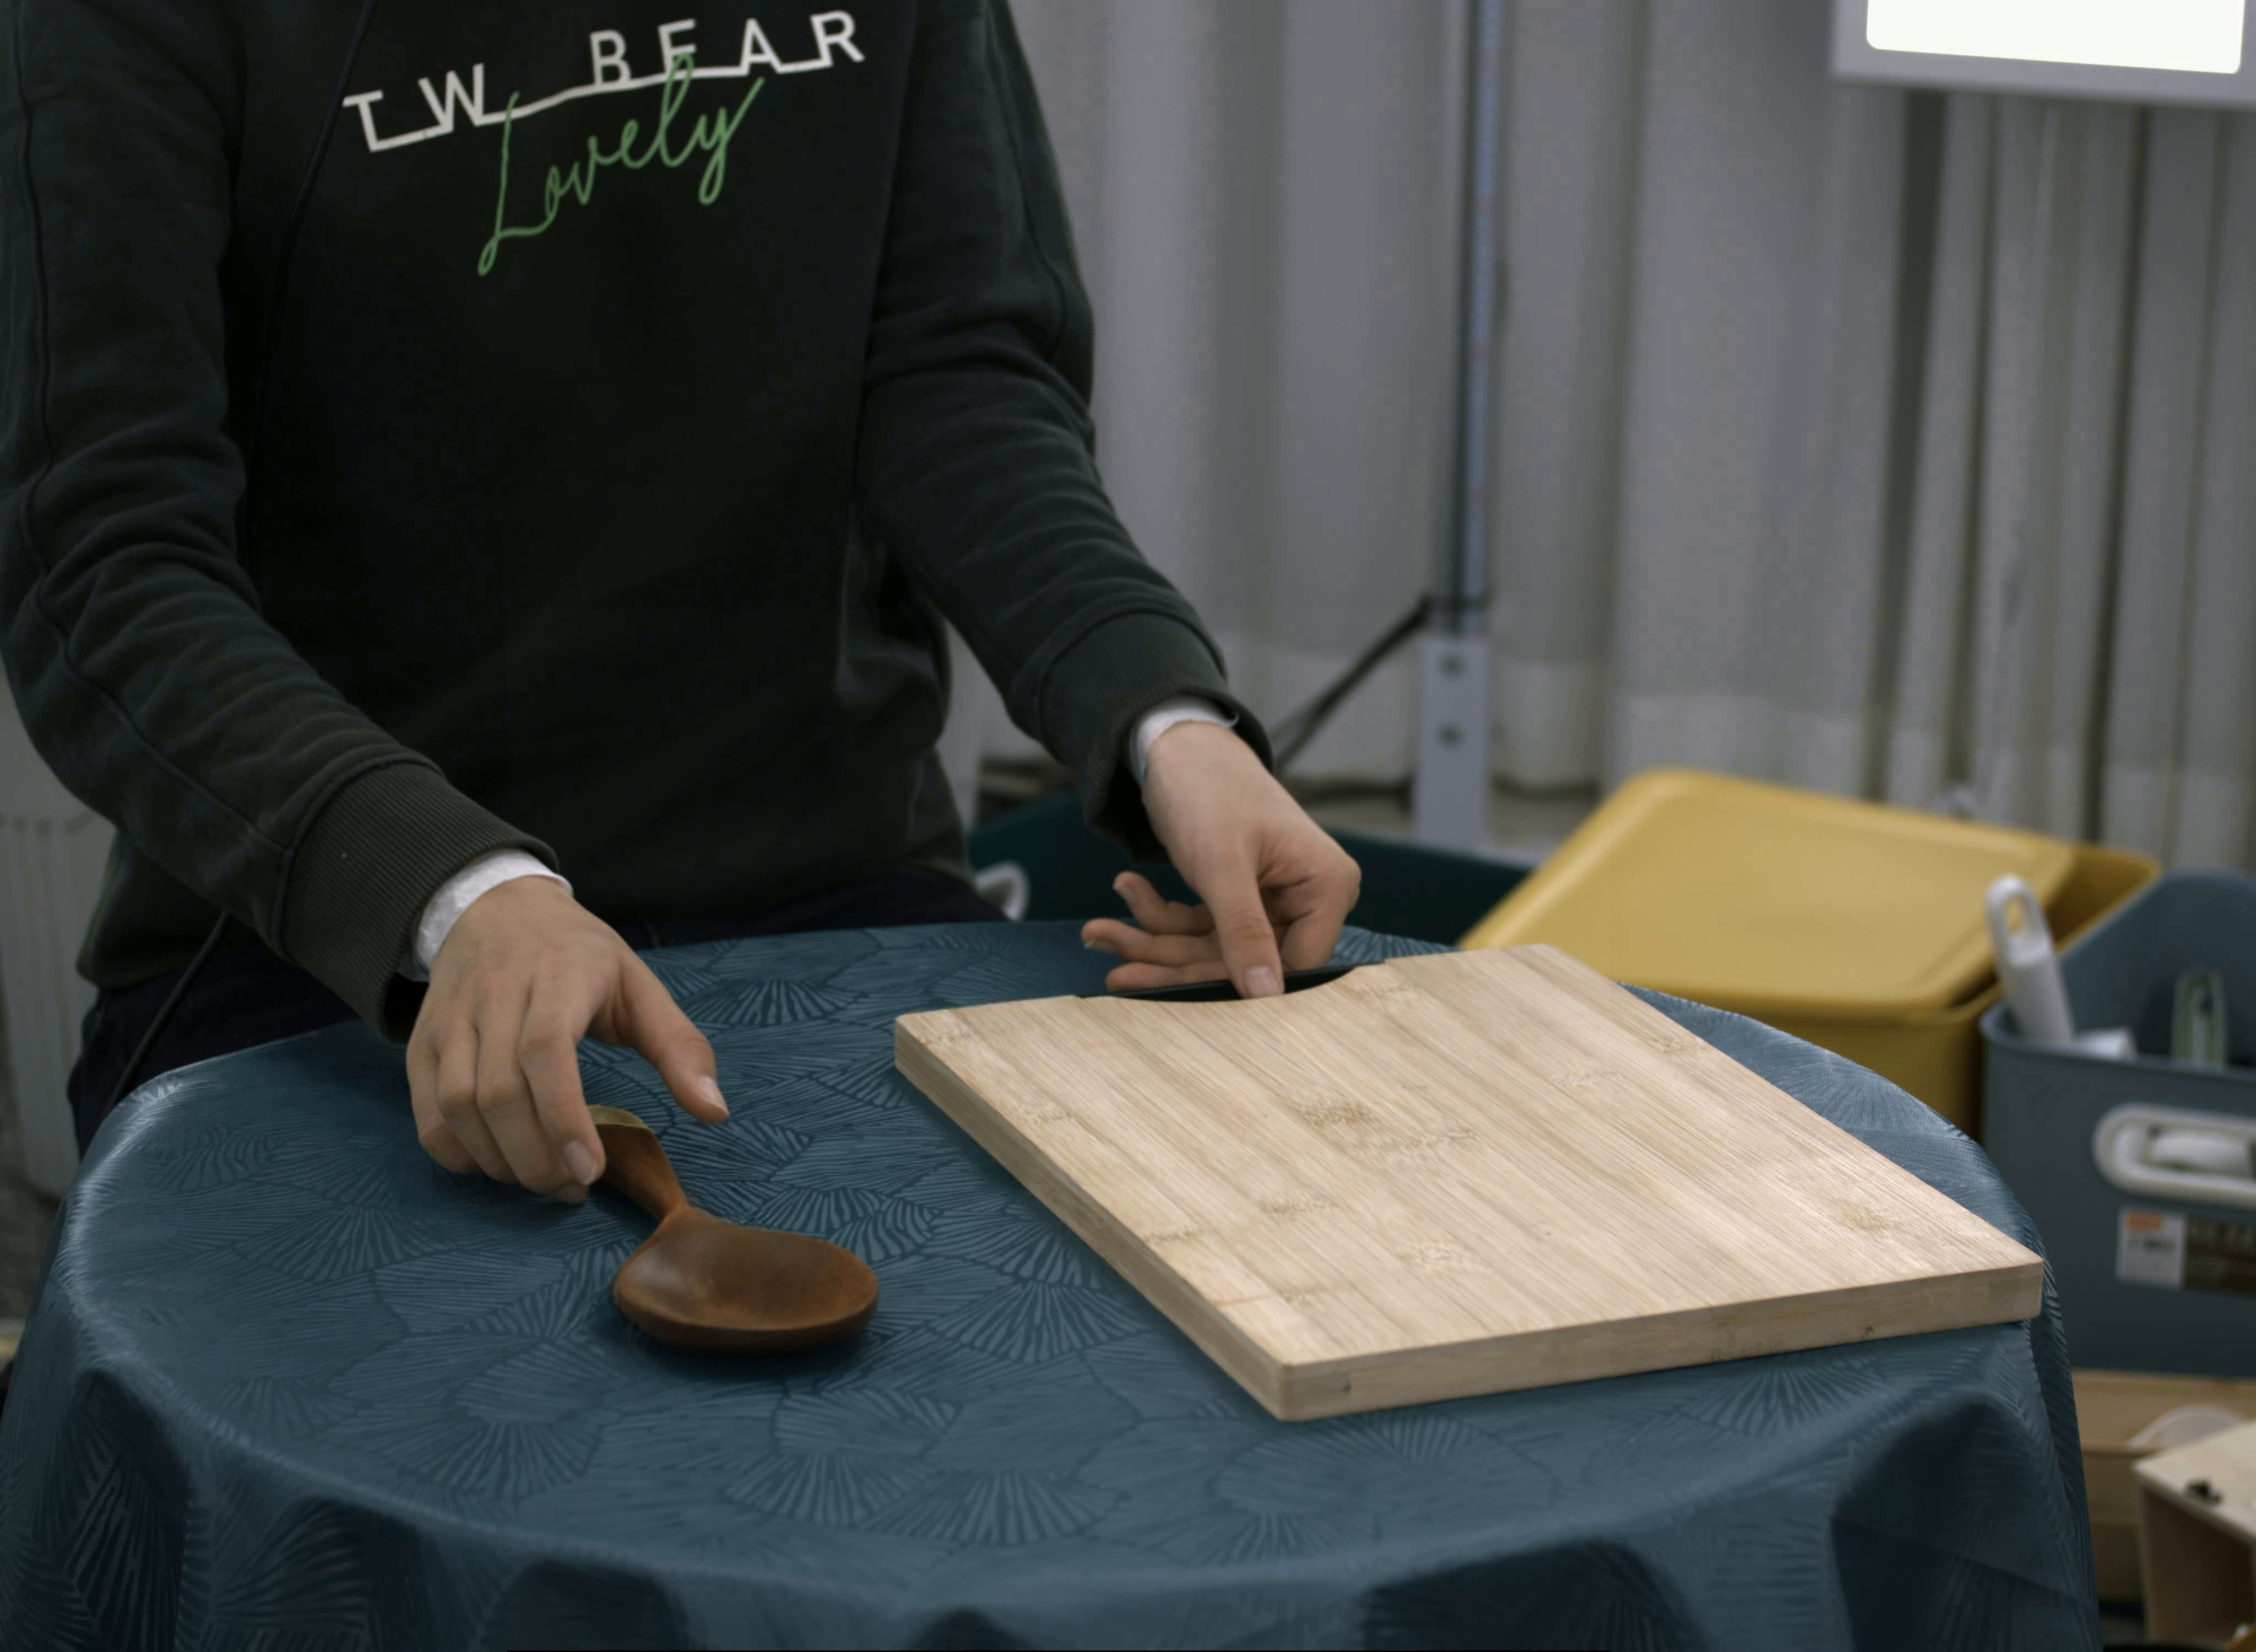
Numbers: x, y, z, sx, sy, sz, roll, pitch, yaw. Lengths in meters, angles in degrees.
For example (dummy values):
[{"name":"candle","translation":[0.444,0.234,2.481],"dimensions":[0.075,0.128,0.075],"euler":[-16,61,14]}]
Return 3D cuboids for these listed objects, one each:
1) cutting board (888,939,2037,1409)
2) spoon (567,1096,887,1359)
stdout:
[{"name":"cutting board","translation":[0.092,0.102,1.640],"dimensions":[0.251,0.024,0.344],"euler":[-5,17,-22]},{"name":"spoon","translation":[-0.129,0.120,1.564],"dimensions":[0.075,0.017,0.213],"euler":[-6,18,-20]}]
